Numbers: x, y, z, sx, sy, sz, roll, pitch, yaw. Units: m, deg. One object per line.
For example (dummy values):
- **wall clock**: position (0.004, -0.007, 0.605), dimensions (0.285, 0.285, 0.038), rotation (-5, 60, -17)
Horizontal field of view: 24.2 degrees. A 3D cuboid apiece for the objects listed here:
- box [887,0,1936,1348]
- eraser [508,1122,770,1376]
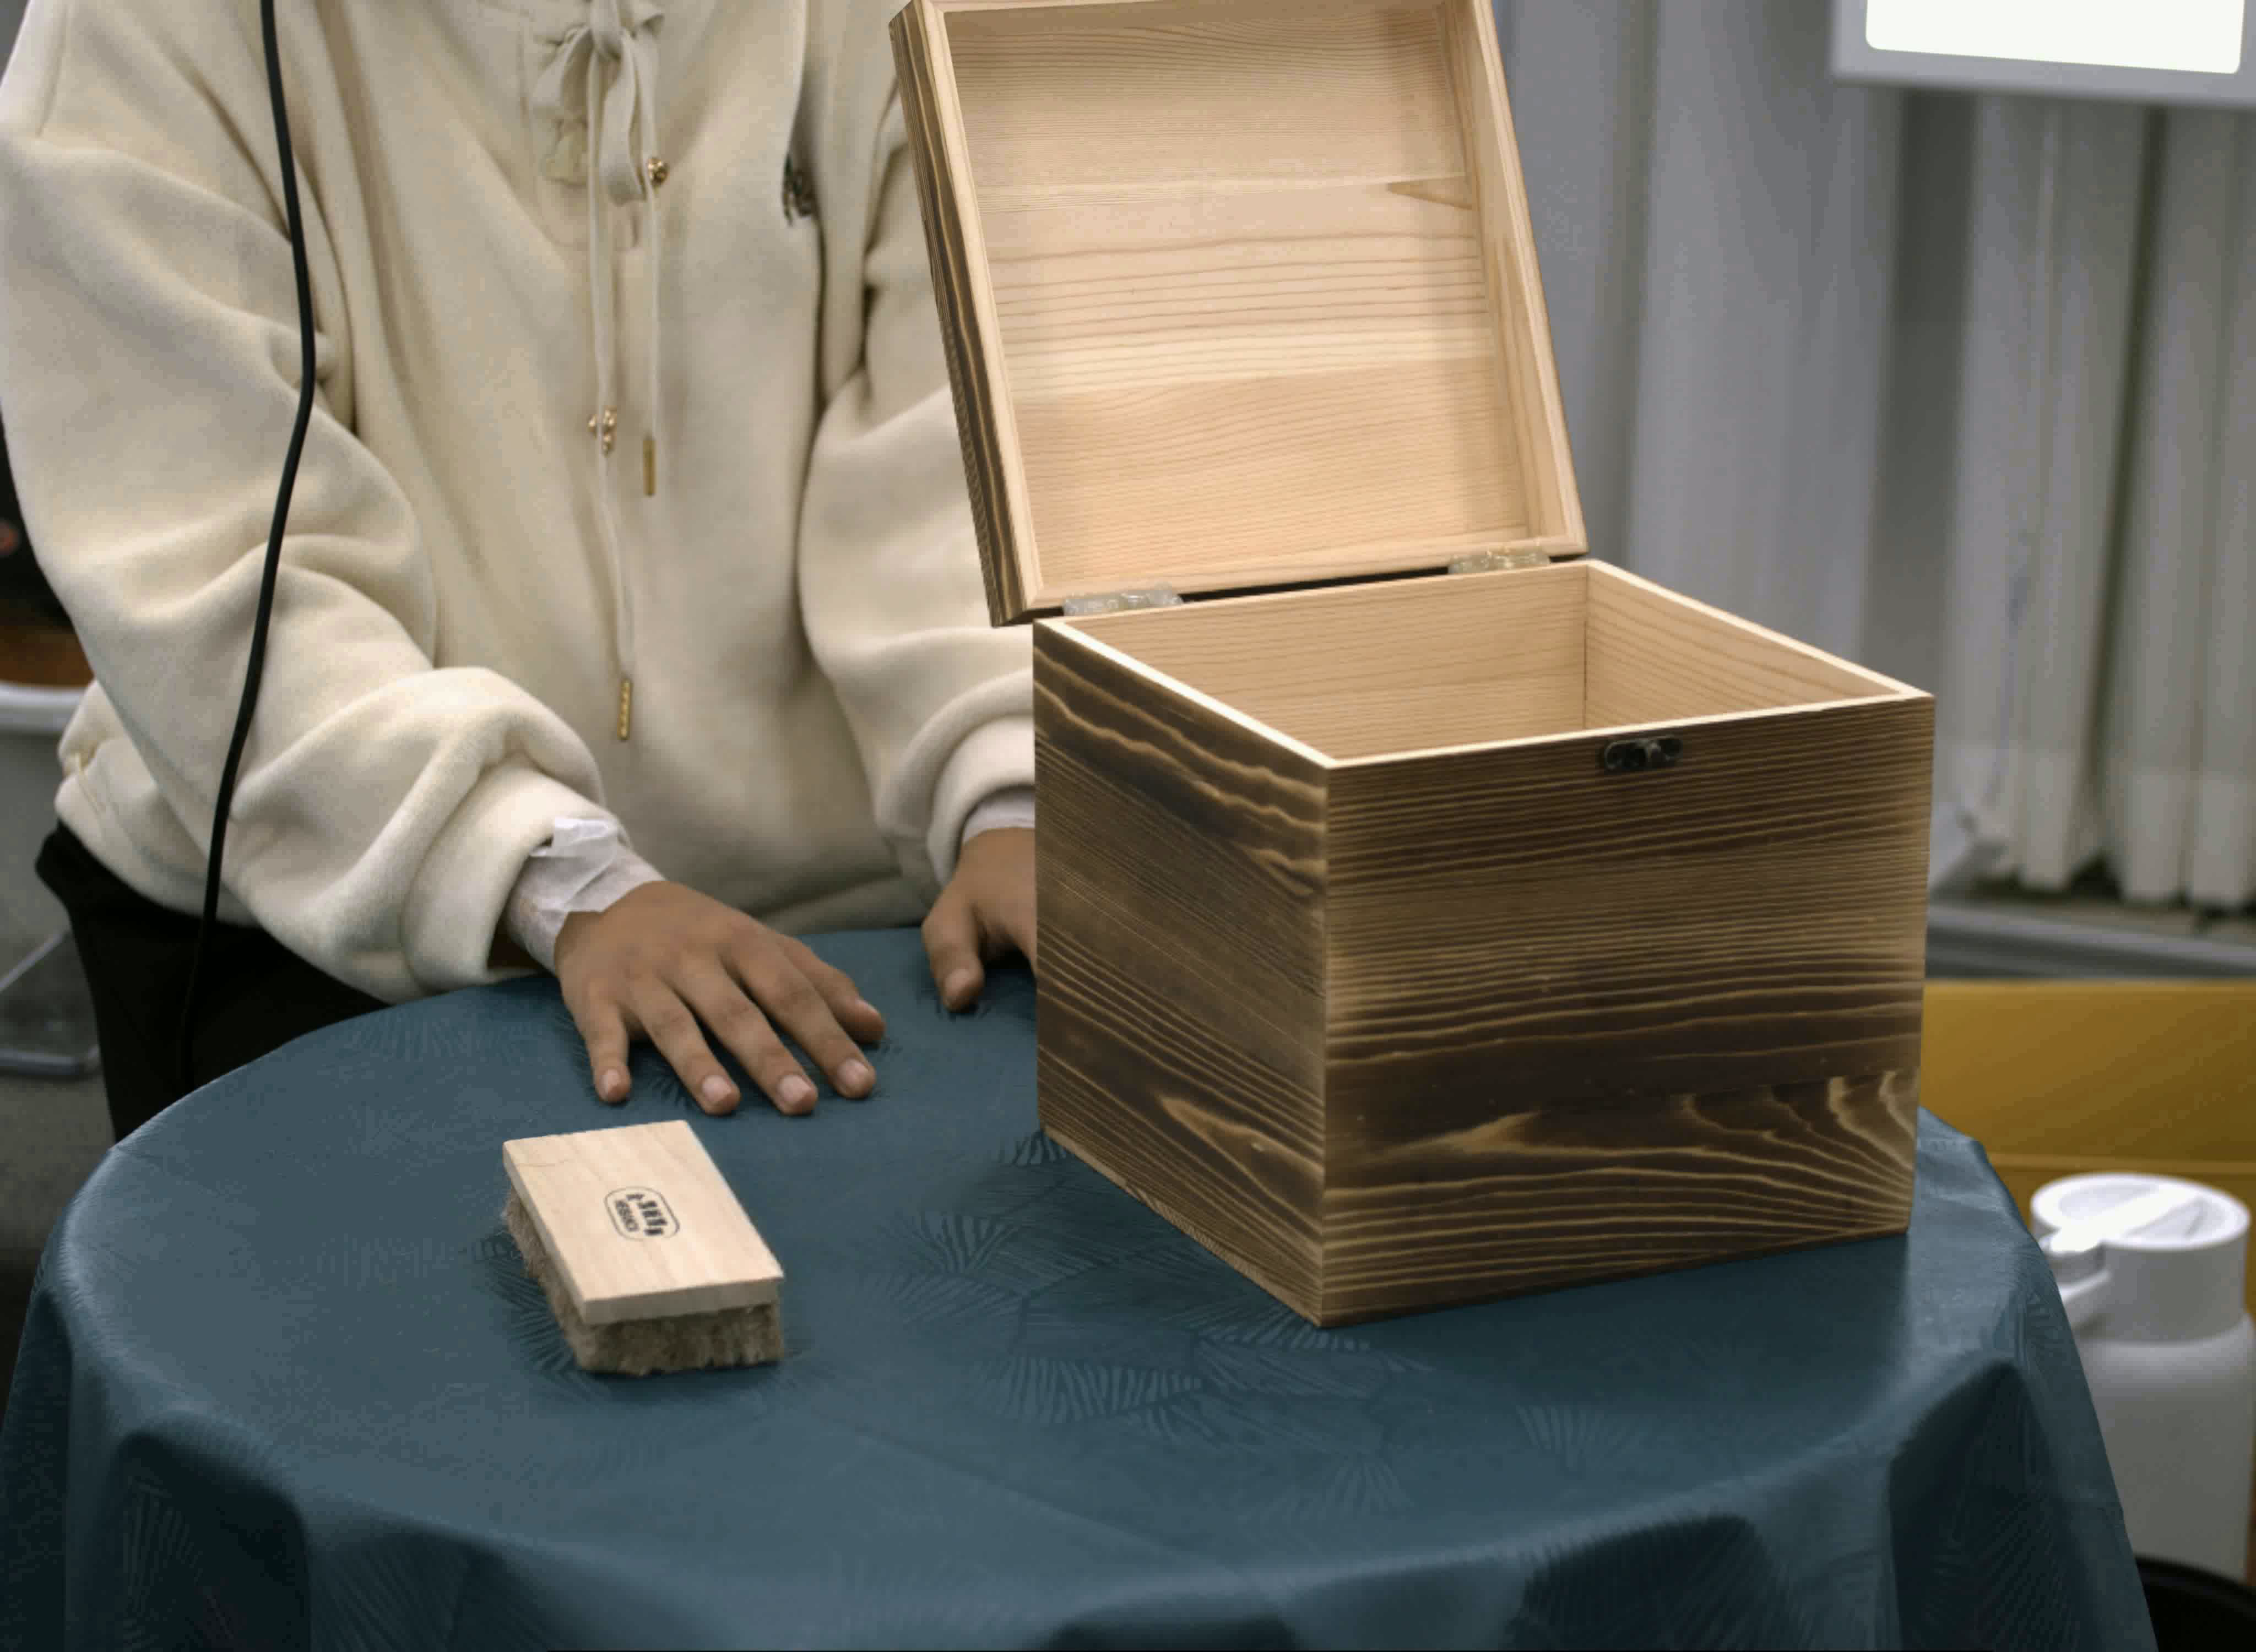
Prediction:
- **box**: position (0.080, -0.077, 1.623), dimensions (0.209, 0.378, 0.318), rotation (-8, 18, -25)
- **eraser**: position (-0.143, 0.123, 1.526), dimensions (0.057, 0.029, 0.138), rotation (-6, 16, -13)
